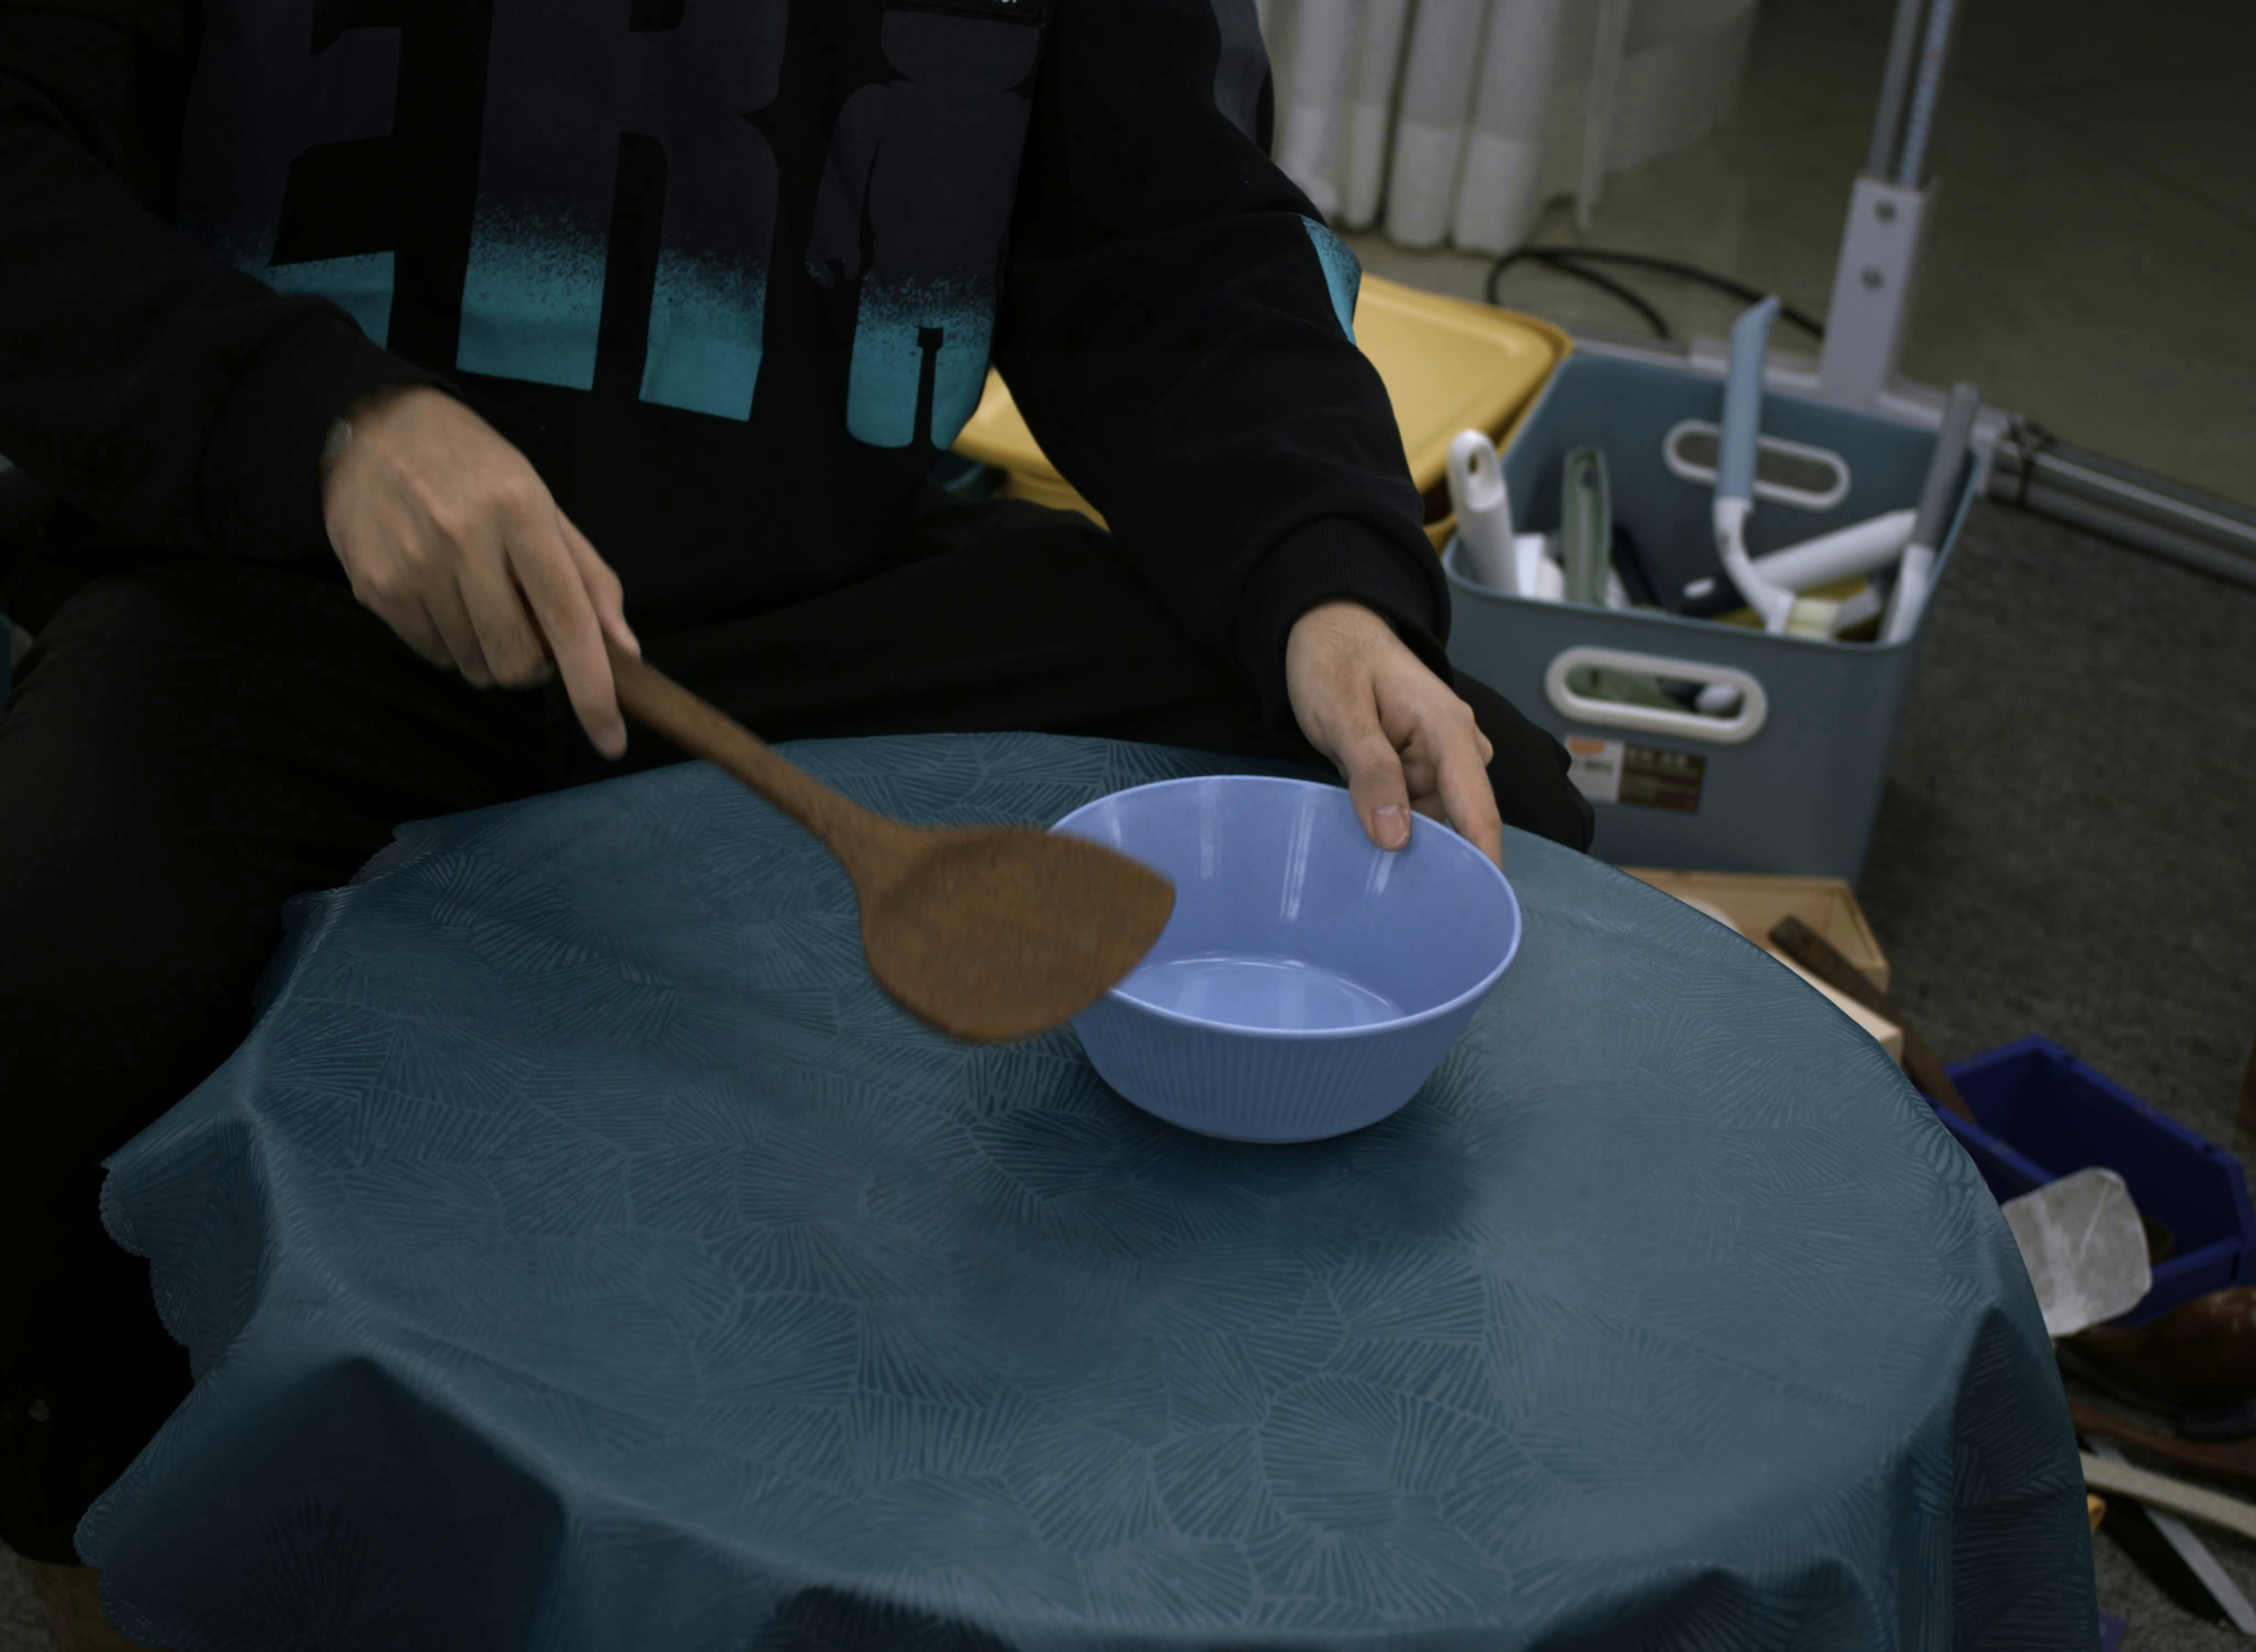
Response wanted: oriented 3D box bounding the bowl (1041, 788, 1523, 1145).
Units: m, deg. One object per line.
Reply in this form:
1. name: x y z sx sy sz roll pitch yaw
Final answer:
1. bowl: 0.049 0.055 1.864 0.175 0.070 0.177 3 28 -2

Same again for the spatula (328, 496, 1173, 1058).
1. spatula: -0.145 -0.029 1.798 0.389 0.015 0.096 32 56 33
